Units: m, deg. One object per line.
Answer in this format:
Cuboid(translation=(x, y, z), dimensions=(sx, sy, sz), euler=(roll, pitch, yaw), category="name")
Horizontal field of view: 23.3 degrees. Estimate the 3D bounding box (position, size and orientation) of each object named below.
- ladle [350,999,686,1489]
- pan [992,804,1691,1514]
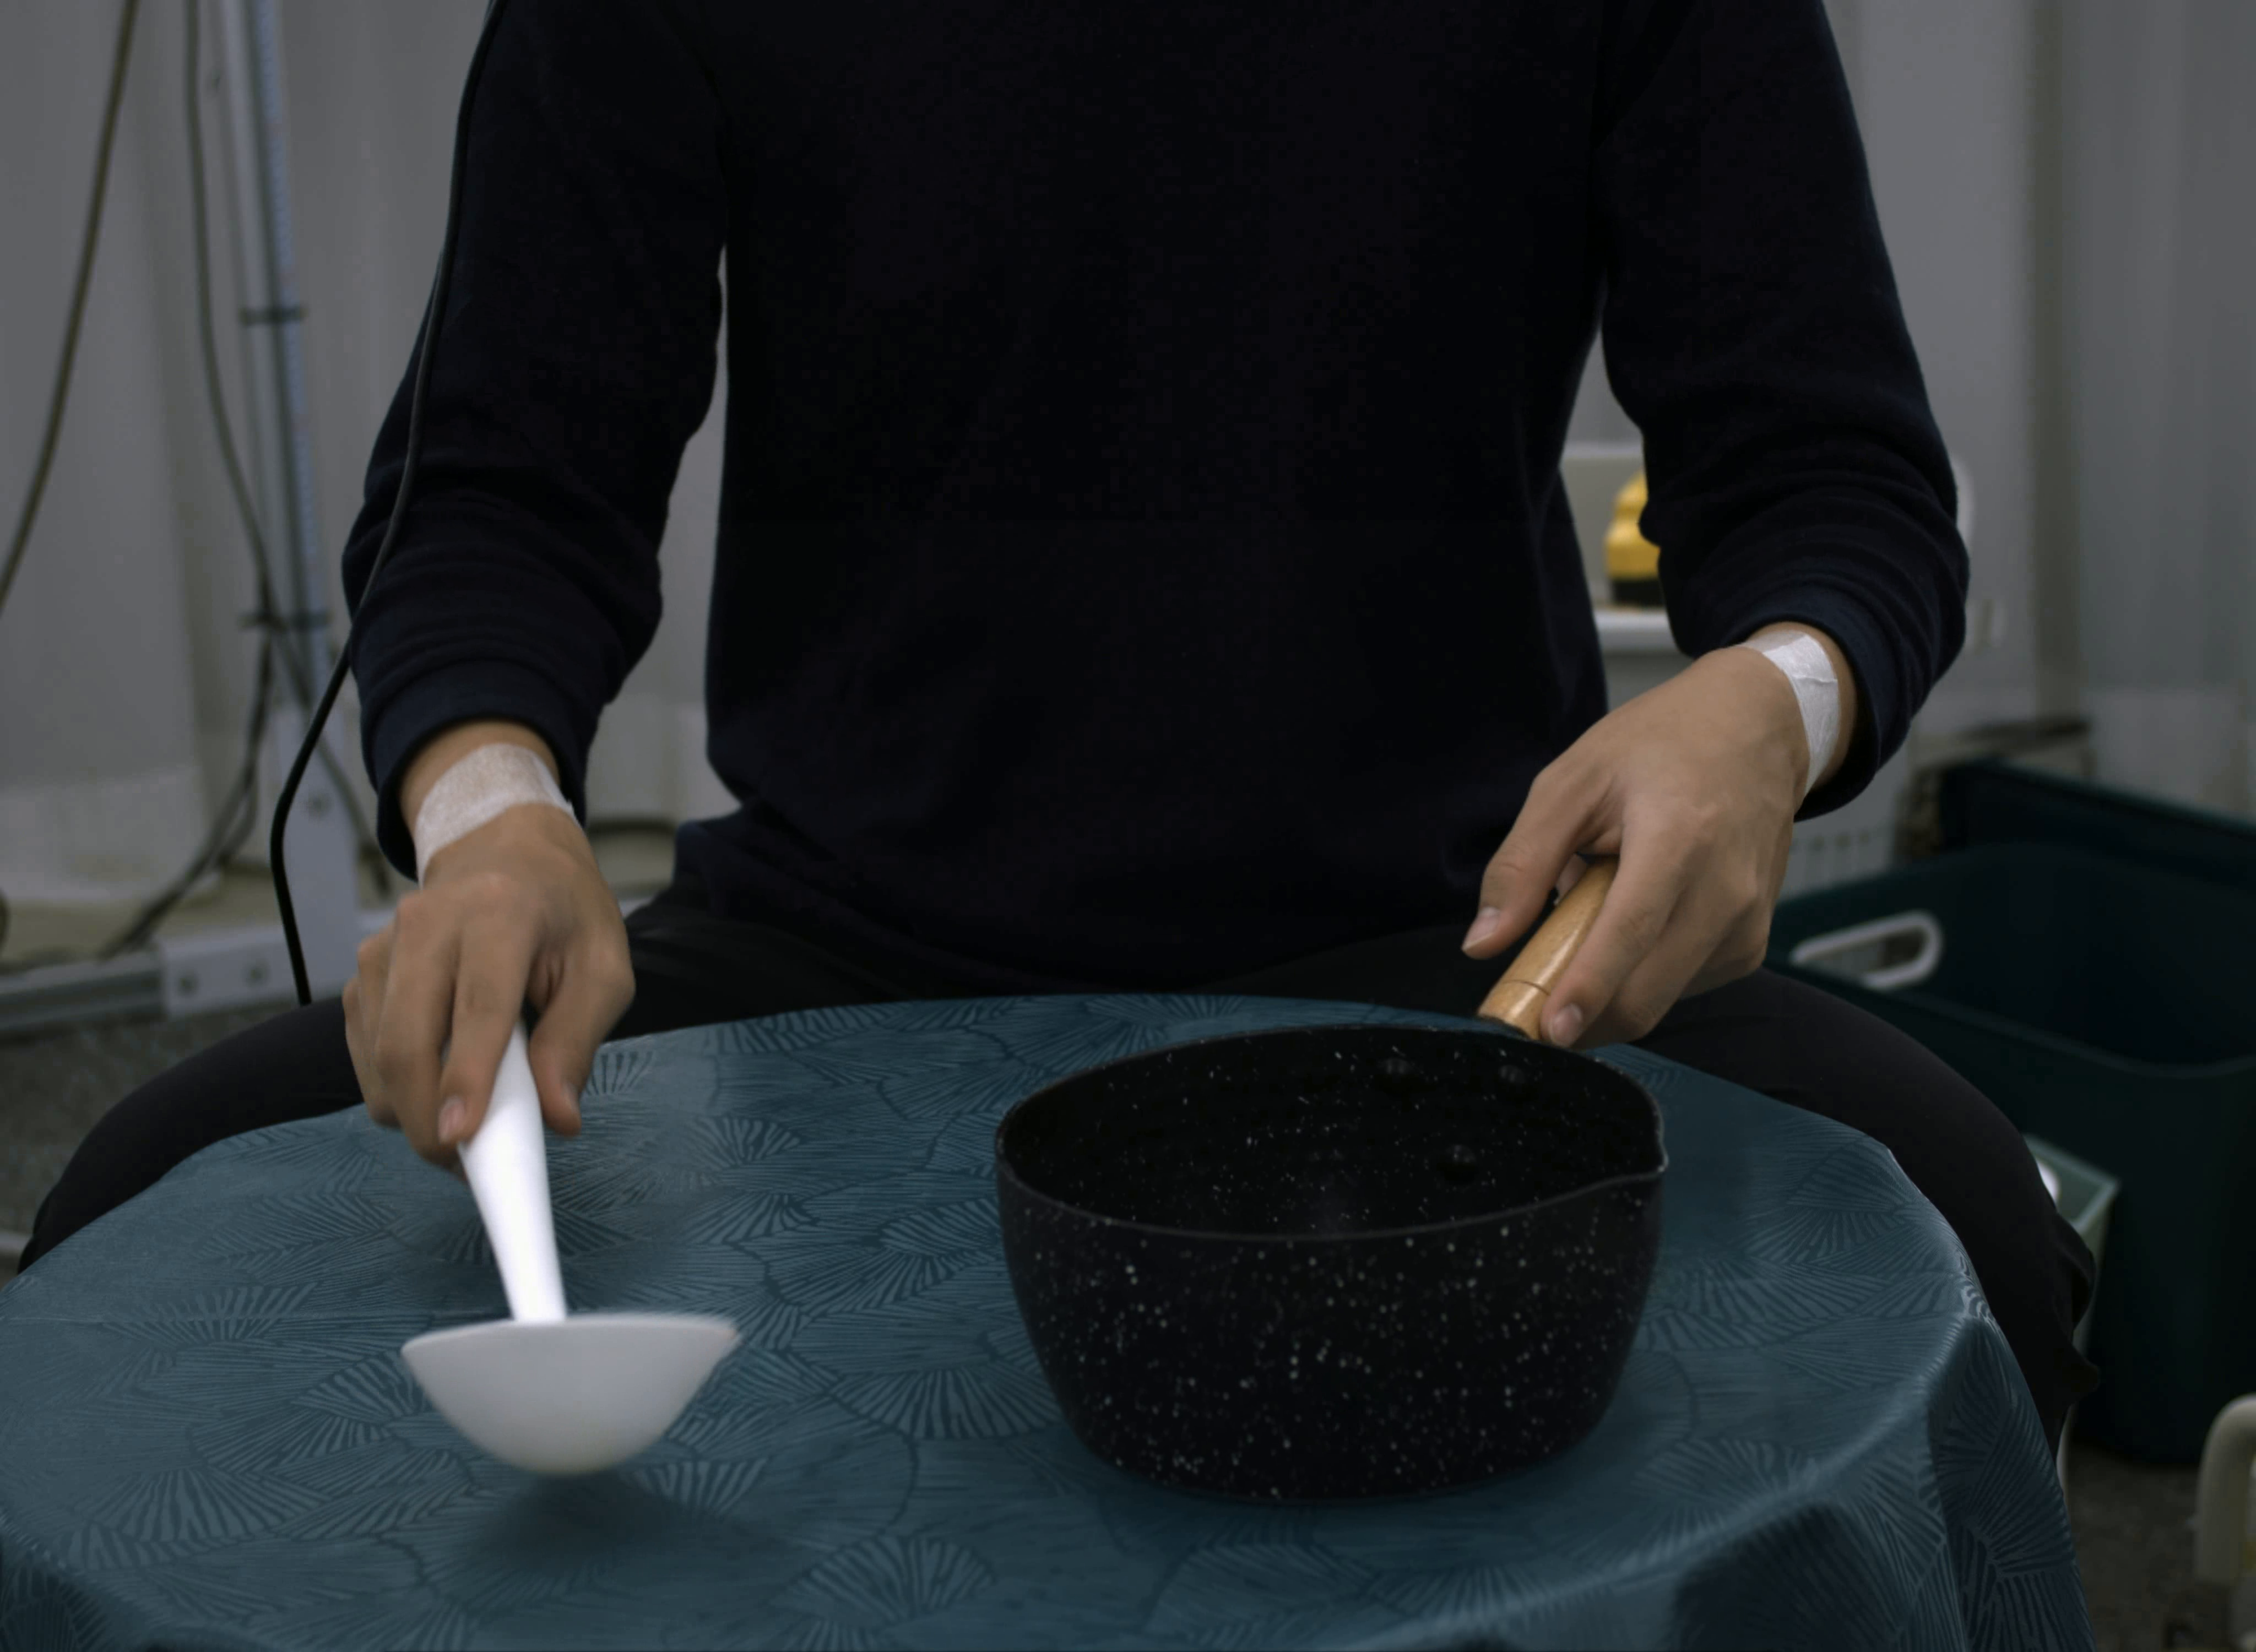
Cuboid(translation=(-0.182, 0.106, 1.564), dimensions=(0.090, 0.069, 0.296), euler=(-8, 23, -8), category="ladle")
Cuboid(translation=(0.090, 0.091, 1.580), dimensions=(0.208, 0.108, 0.344), euler=(3, 18, 26), category="pan")
